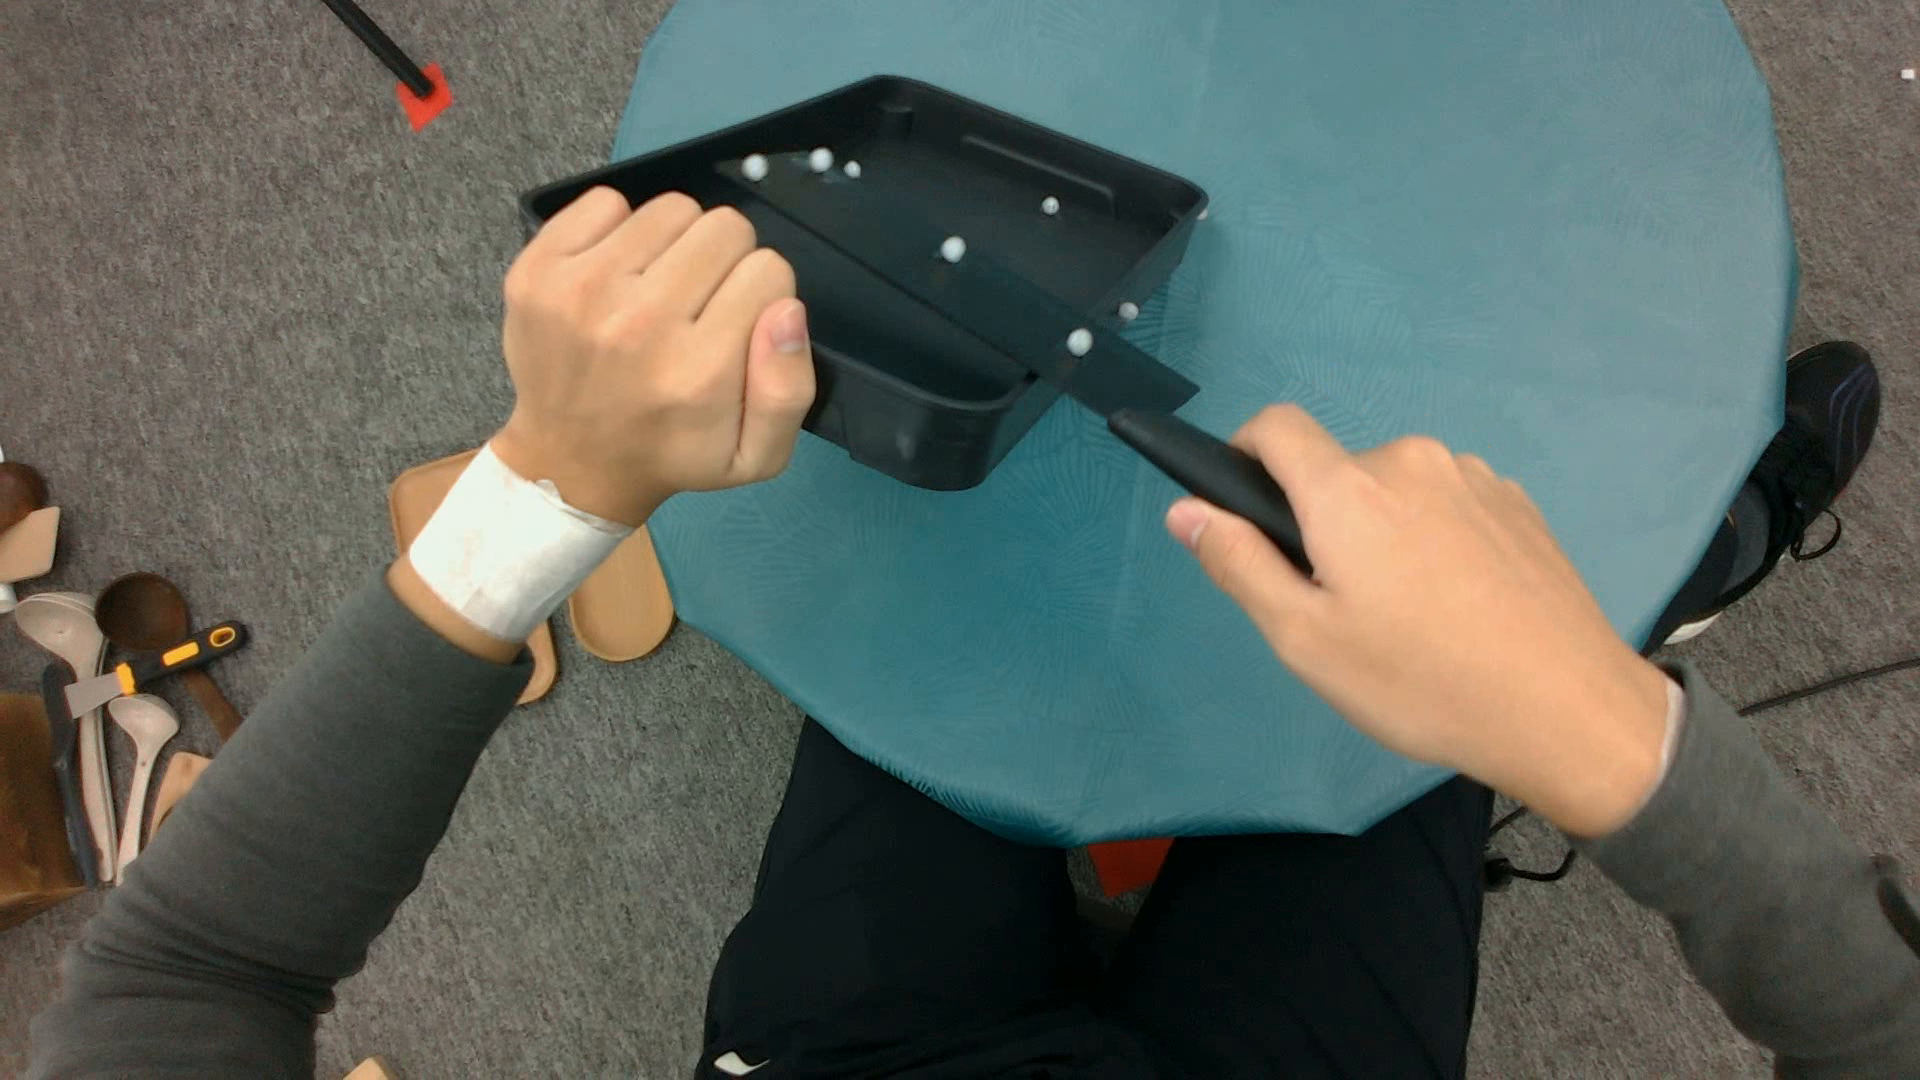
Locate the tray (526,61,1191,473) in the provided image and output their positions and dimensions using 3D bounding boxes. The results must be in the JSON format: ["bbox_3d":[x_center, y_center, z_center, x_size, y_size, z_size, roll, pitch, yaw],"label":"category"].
[{"bbox_3d":[-0.020,-0.133,0.578,0.184,0.319,0.037,22,123,9],"label":"tray"}]

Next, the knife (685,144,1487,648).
[{"bbox_3d":[0.038,-0.058,0.459,0.302,0.081,0.021,36,123,17],"label":"knife"}]
